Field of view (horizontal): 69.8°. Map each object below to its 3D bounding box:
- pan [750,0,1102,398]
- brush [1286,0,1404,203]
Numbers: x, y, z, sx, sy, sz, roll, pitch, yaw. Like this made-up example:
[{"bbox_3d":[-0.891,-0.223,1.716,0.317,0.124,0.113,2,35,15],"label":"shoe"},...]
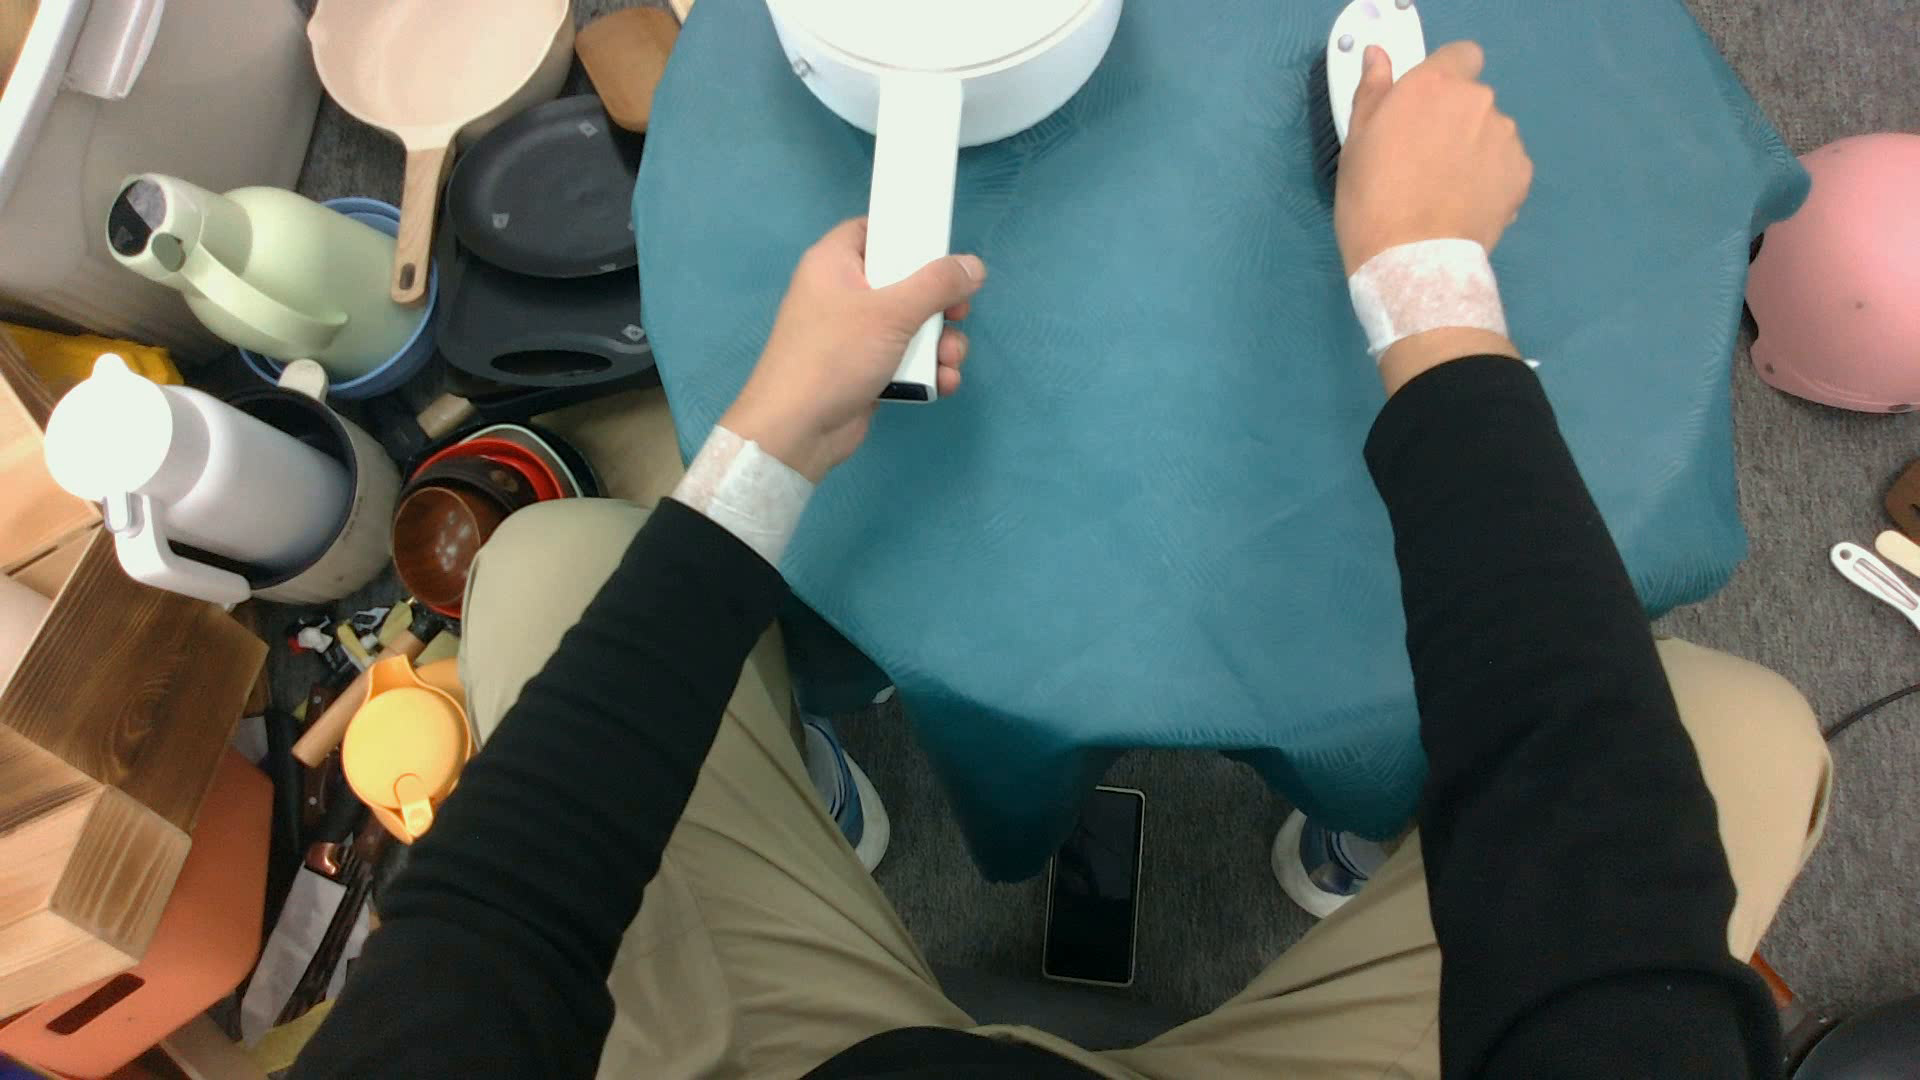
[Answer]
[{"bbox_3d":[-0.024,-0.238,0.722,0.201,0.102,0.355,4,78,1],"label":"pan"},{"bbox_3d":[0.208,-0.238,0.721,0.050,0.072,0.099,1,75,-7],"label":"brush"}]
